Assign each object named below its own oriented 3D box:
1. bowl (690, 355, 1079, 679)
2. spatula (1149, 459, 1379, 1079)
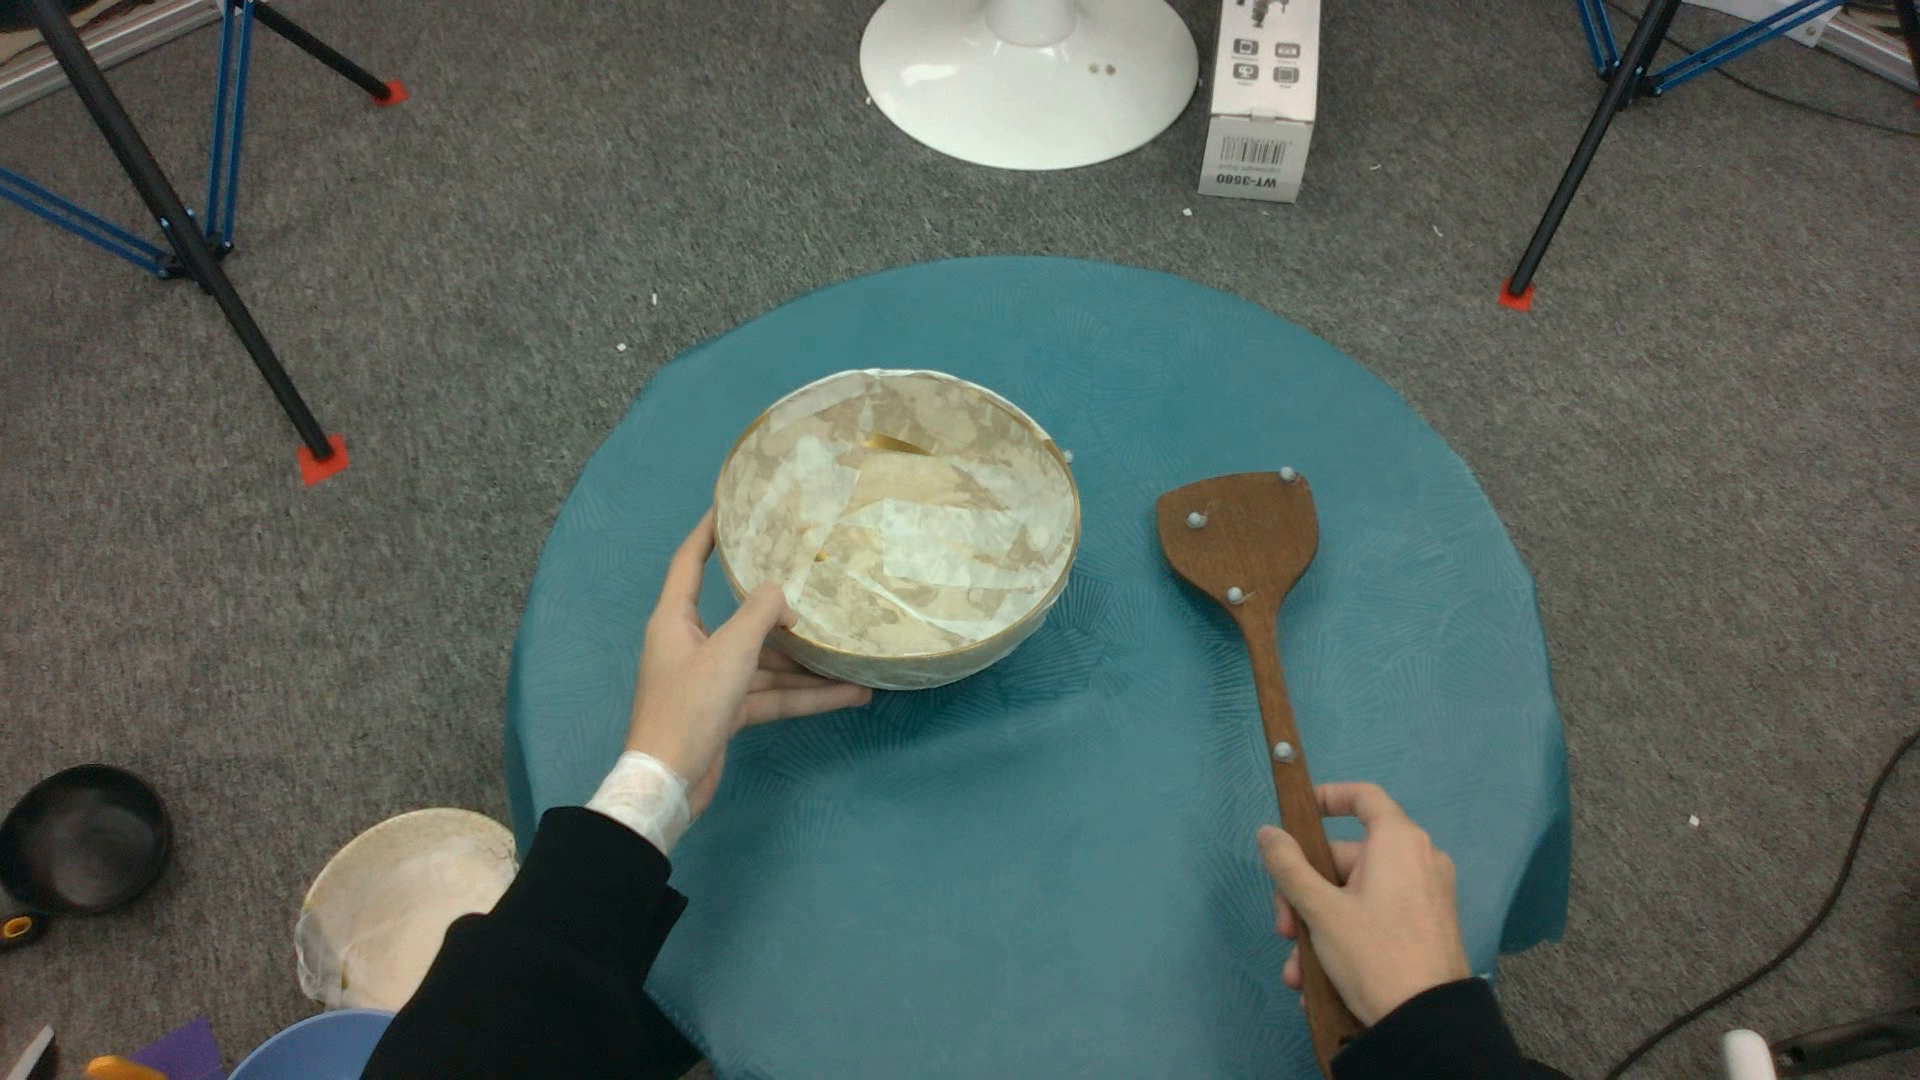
[{"bbox_3d":[-0.045,0.002,0.773,0.215,0.094,0.215,4,53,-5],"label":"bowl"},{"bbox_3d":[0.162,0.090,0.707,0.096,0.016,0.388,-8,44,7],"label":"spatula"}]
